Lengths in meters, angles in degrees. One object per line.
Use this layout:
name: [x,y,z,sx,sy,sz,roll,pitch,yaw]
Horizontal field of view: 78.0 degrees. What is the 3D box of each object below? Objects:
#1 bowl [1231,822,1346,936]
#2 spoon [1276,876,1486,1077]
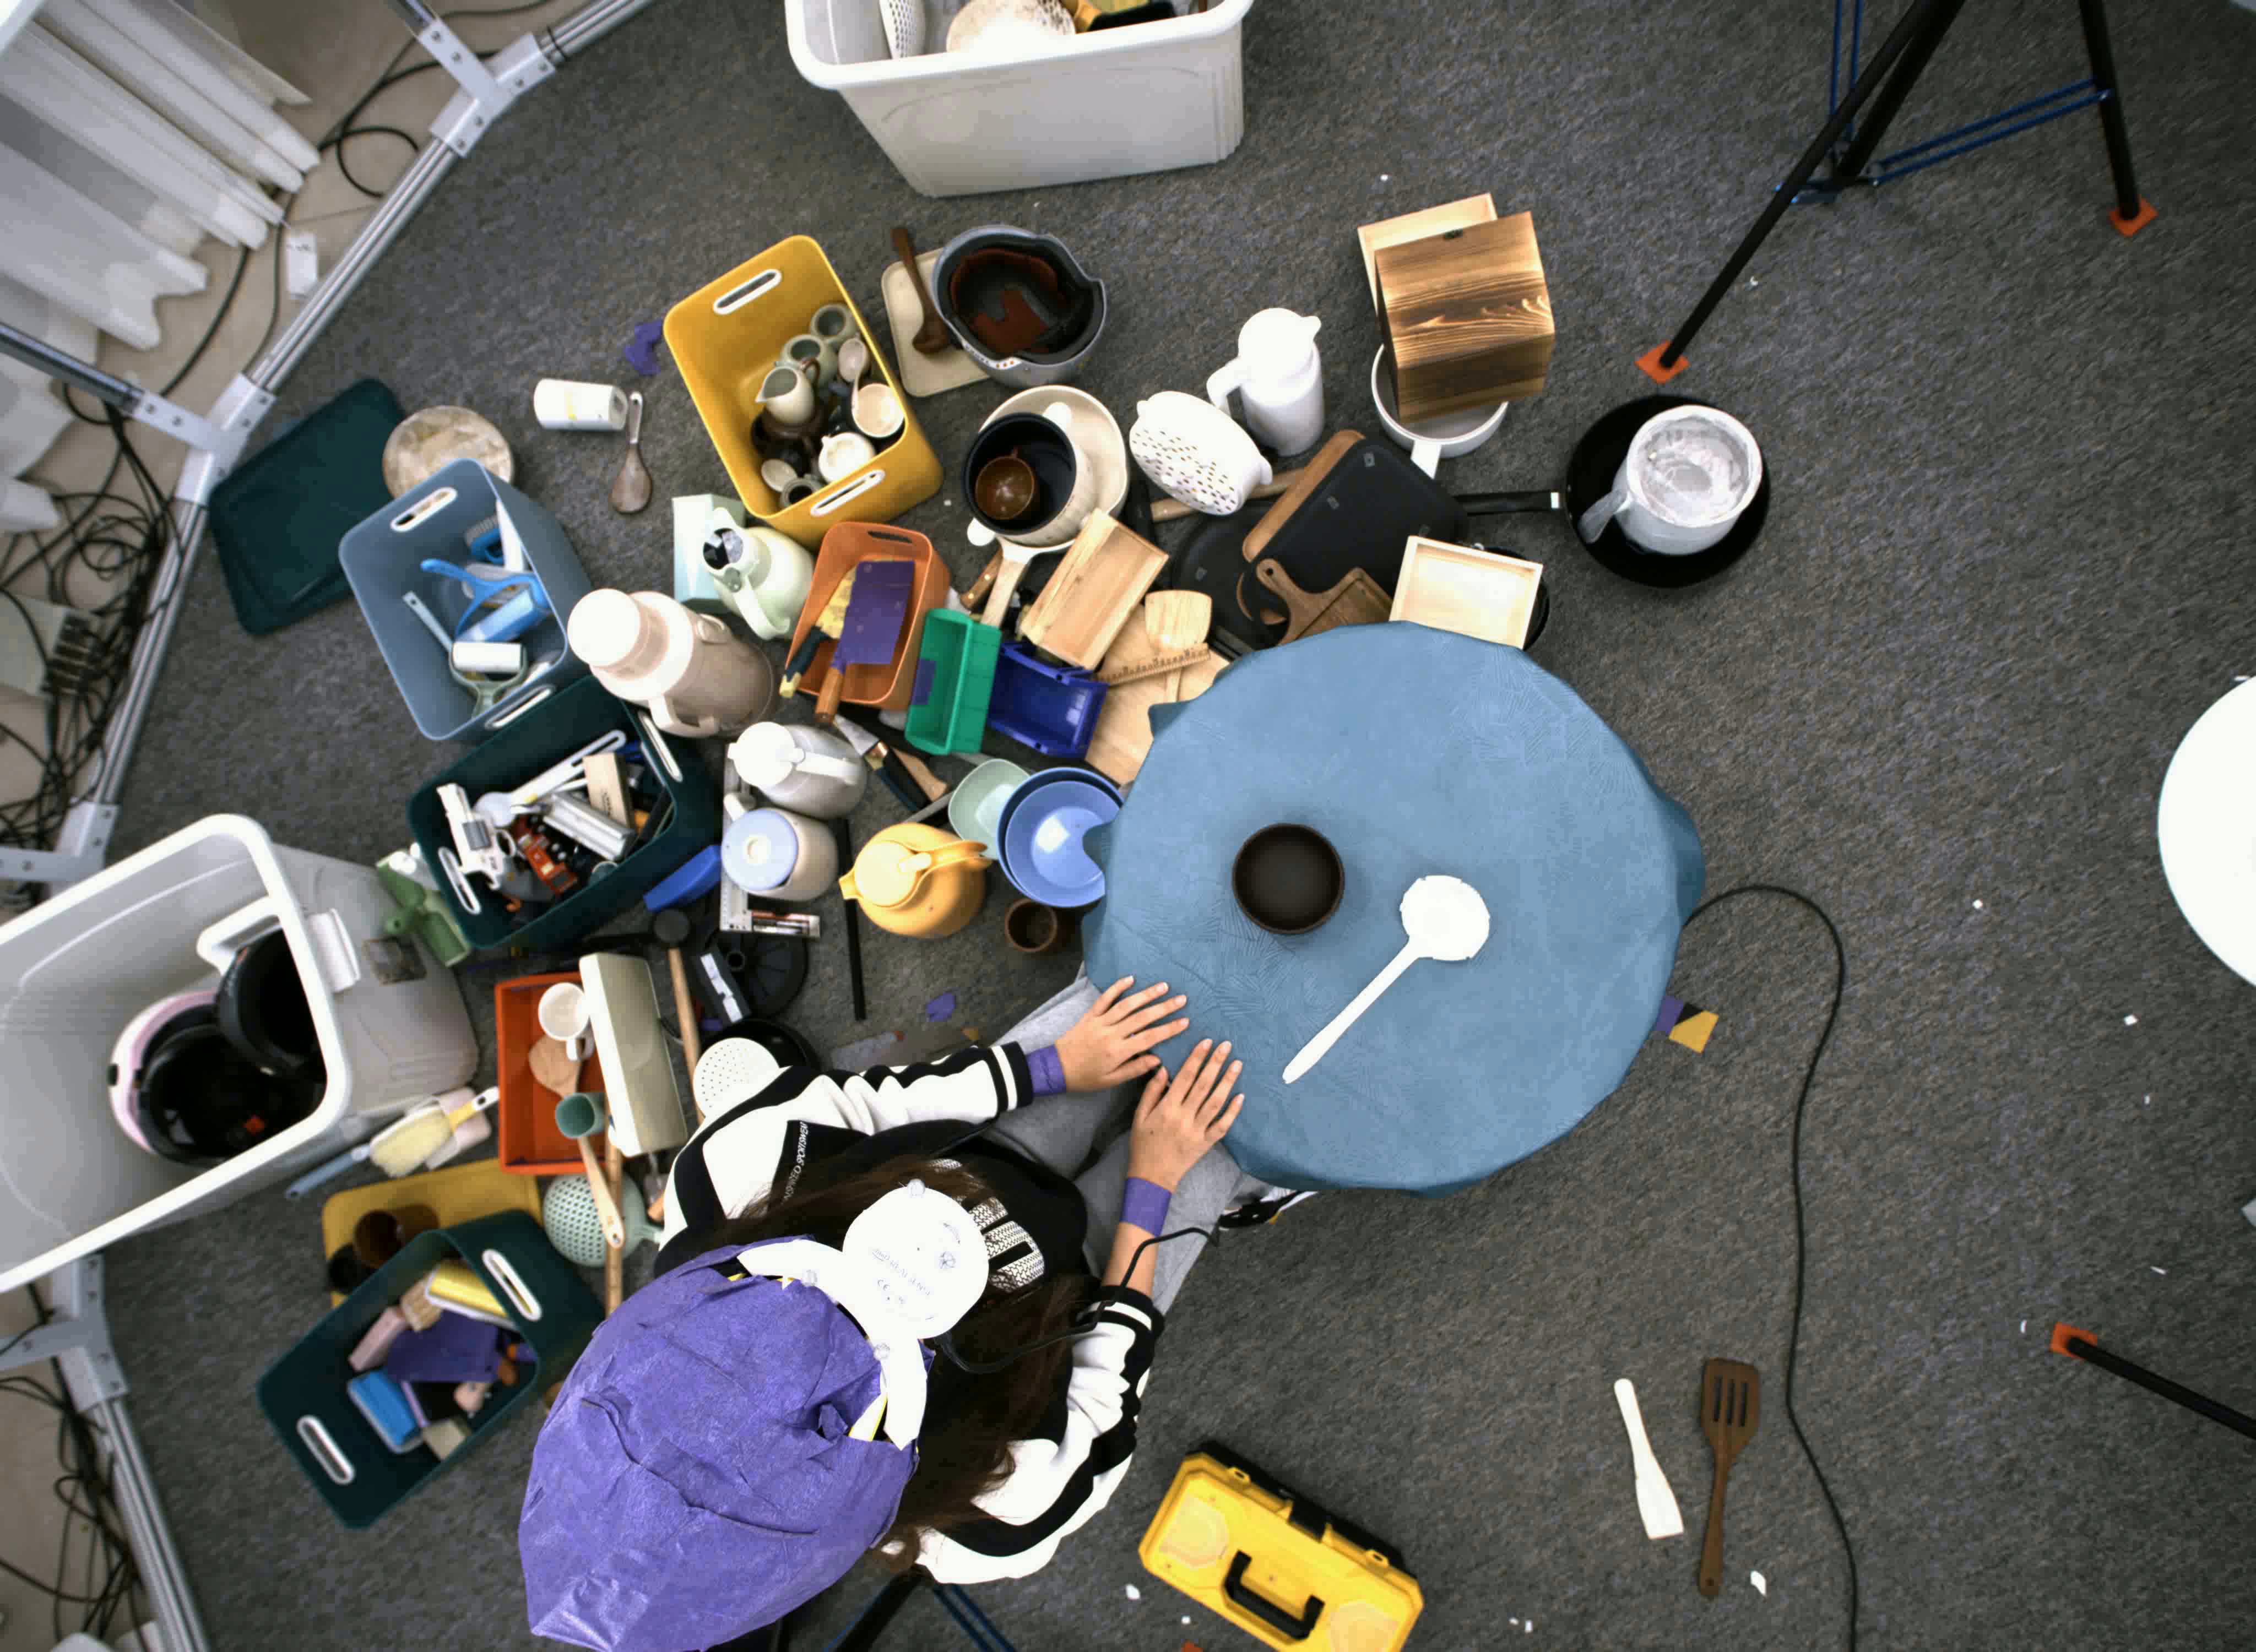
bowl: [0.168,0.056,1.443,0.118,0.070,0.117,-1,85,10]
spoon: [0.250,0.160,1.430,0.278,0.059,0.100,-43,77,5]
